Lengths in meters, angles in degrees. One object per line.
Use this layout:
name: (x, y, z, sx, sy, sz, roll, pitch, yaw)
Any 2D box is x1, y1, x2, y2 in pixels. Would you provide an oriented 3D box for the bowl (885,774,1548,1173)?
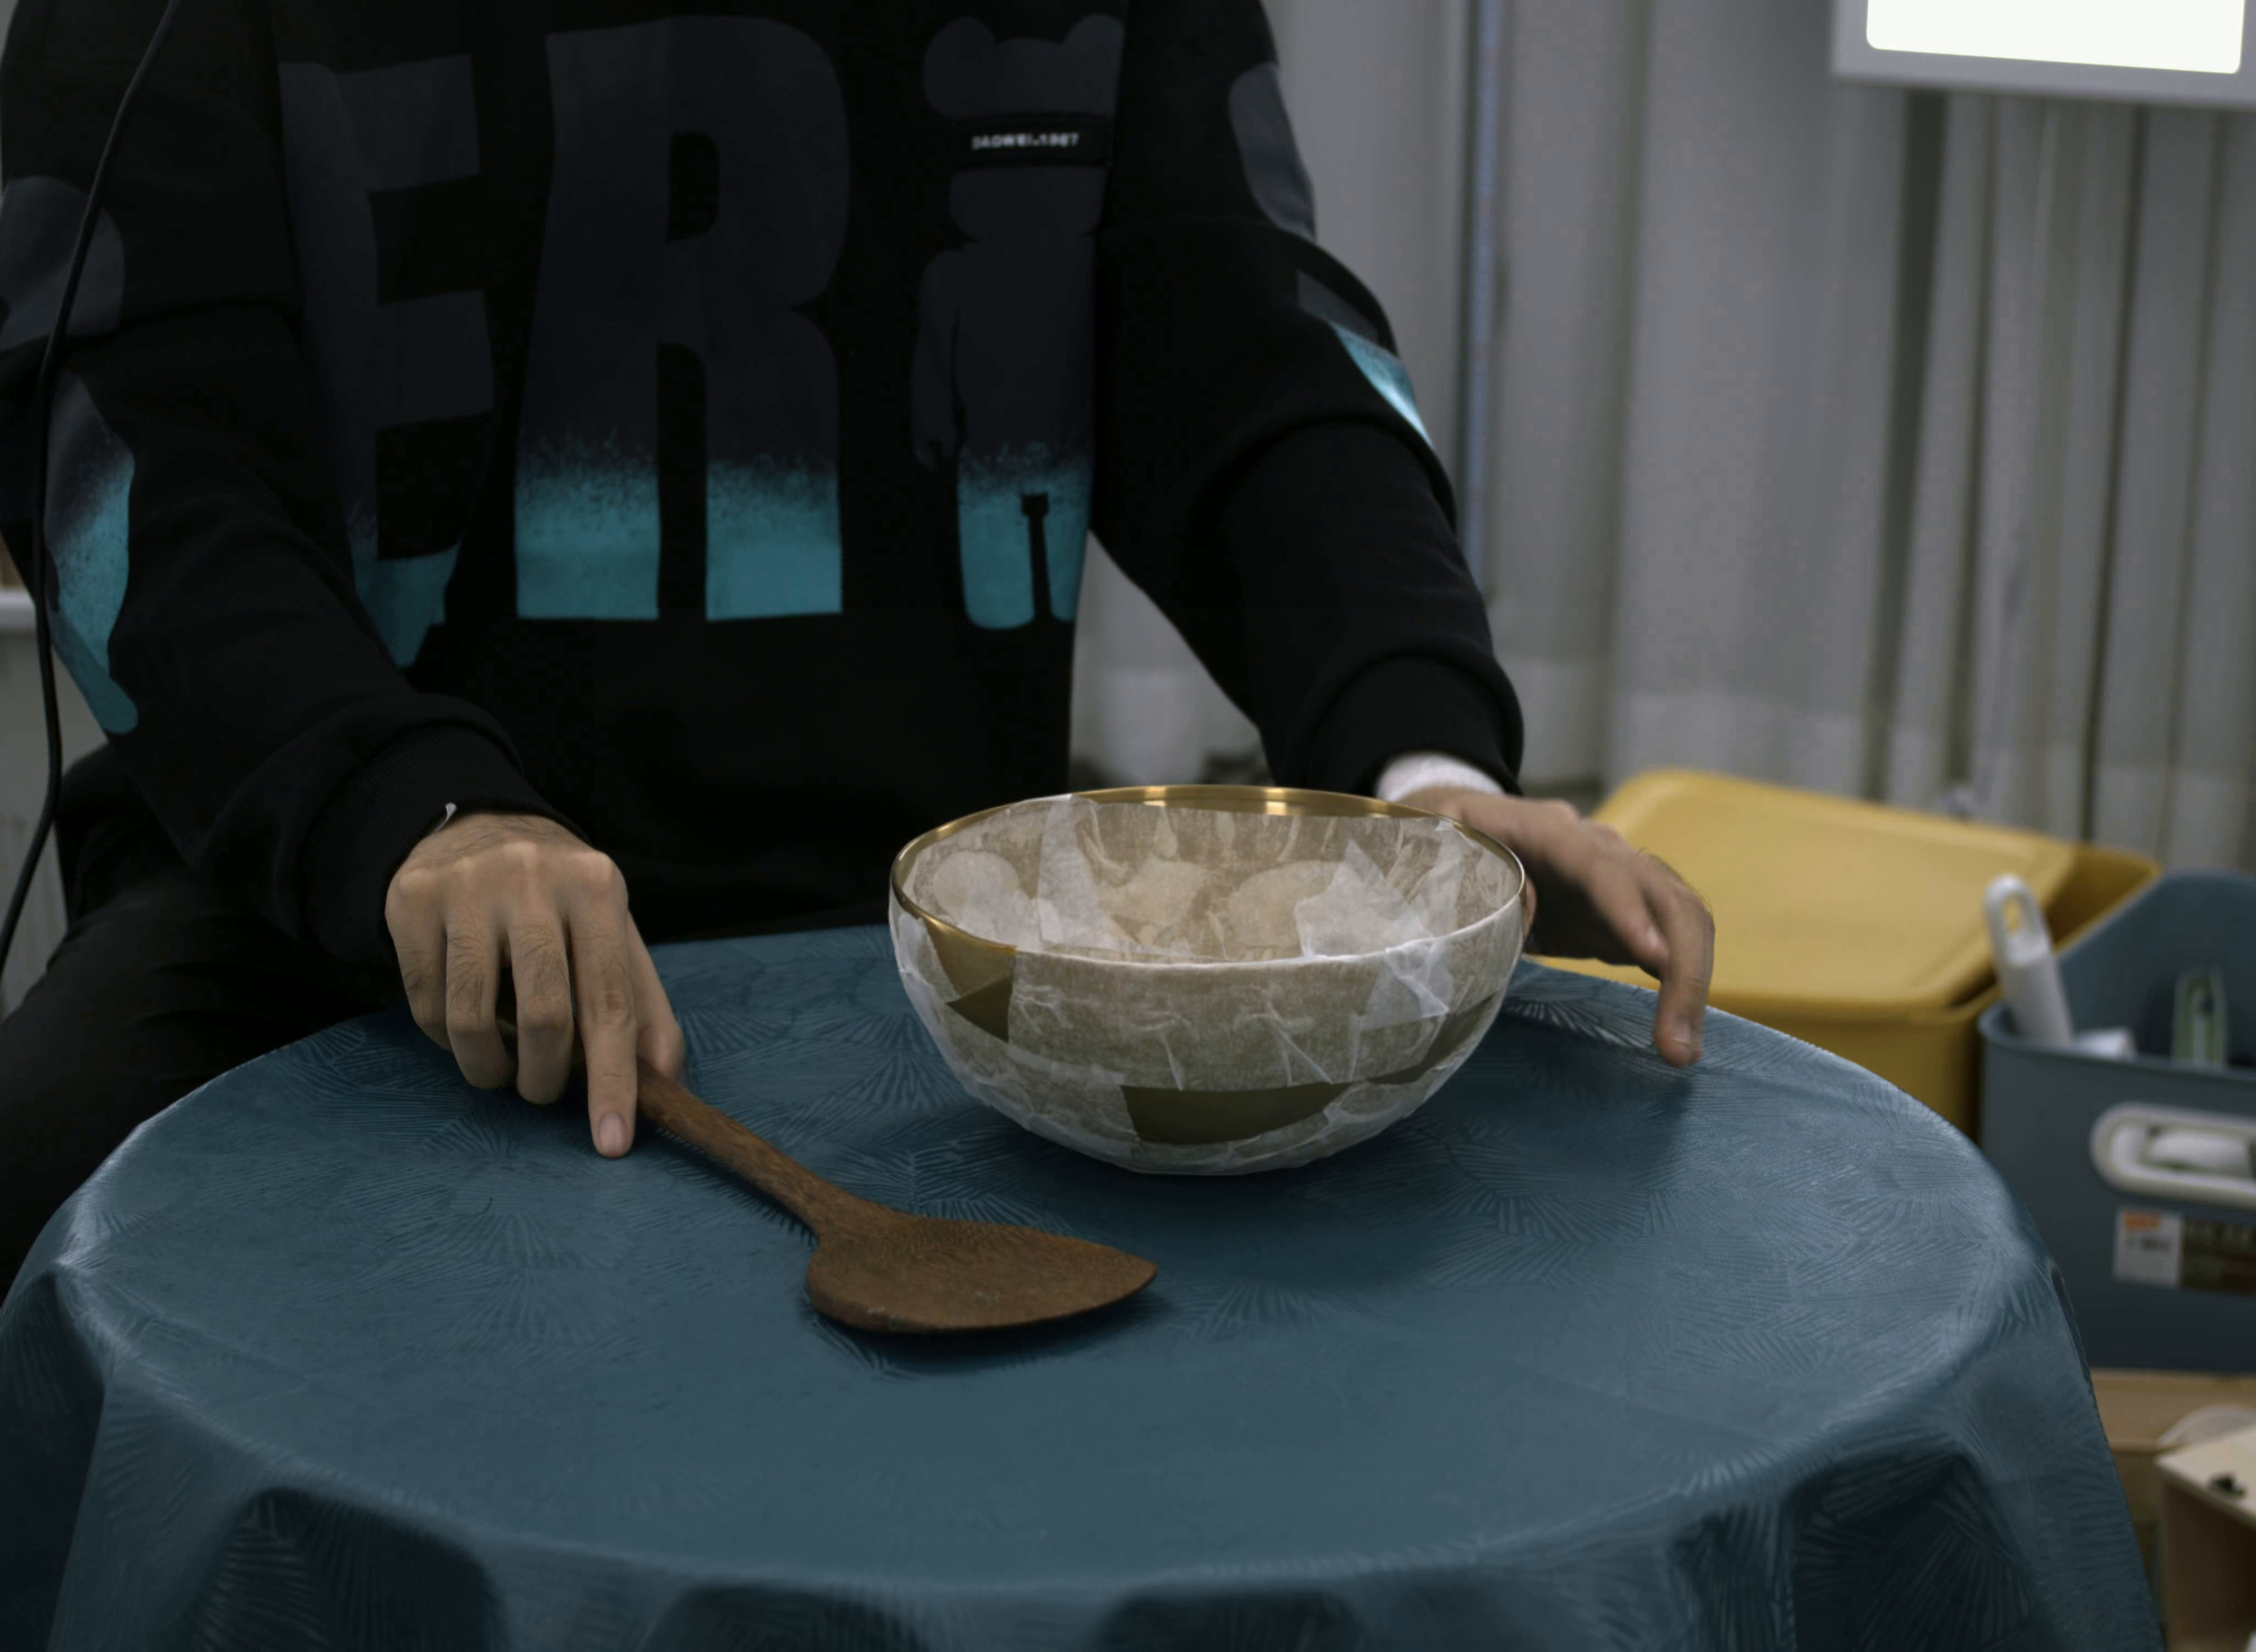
bowl: (0.027, 0.054, 1.660, 0.214, 0.095, 0.213, -1, 16, 1)

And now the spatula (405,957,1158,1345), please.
spatula: (-0.130, 0.095, 1.642, 0.096, 0.016, 0.380, -9, 21, -34)
